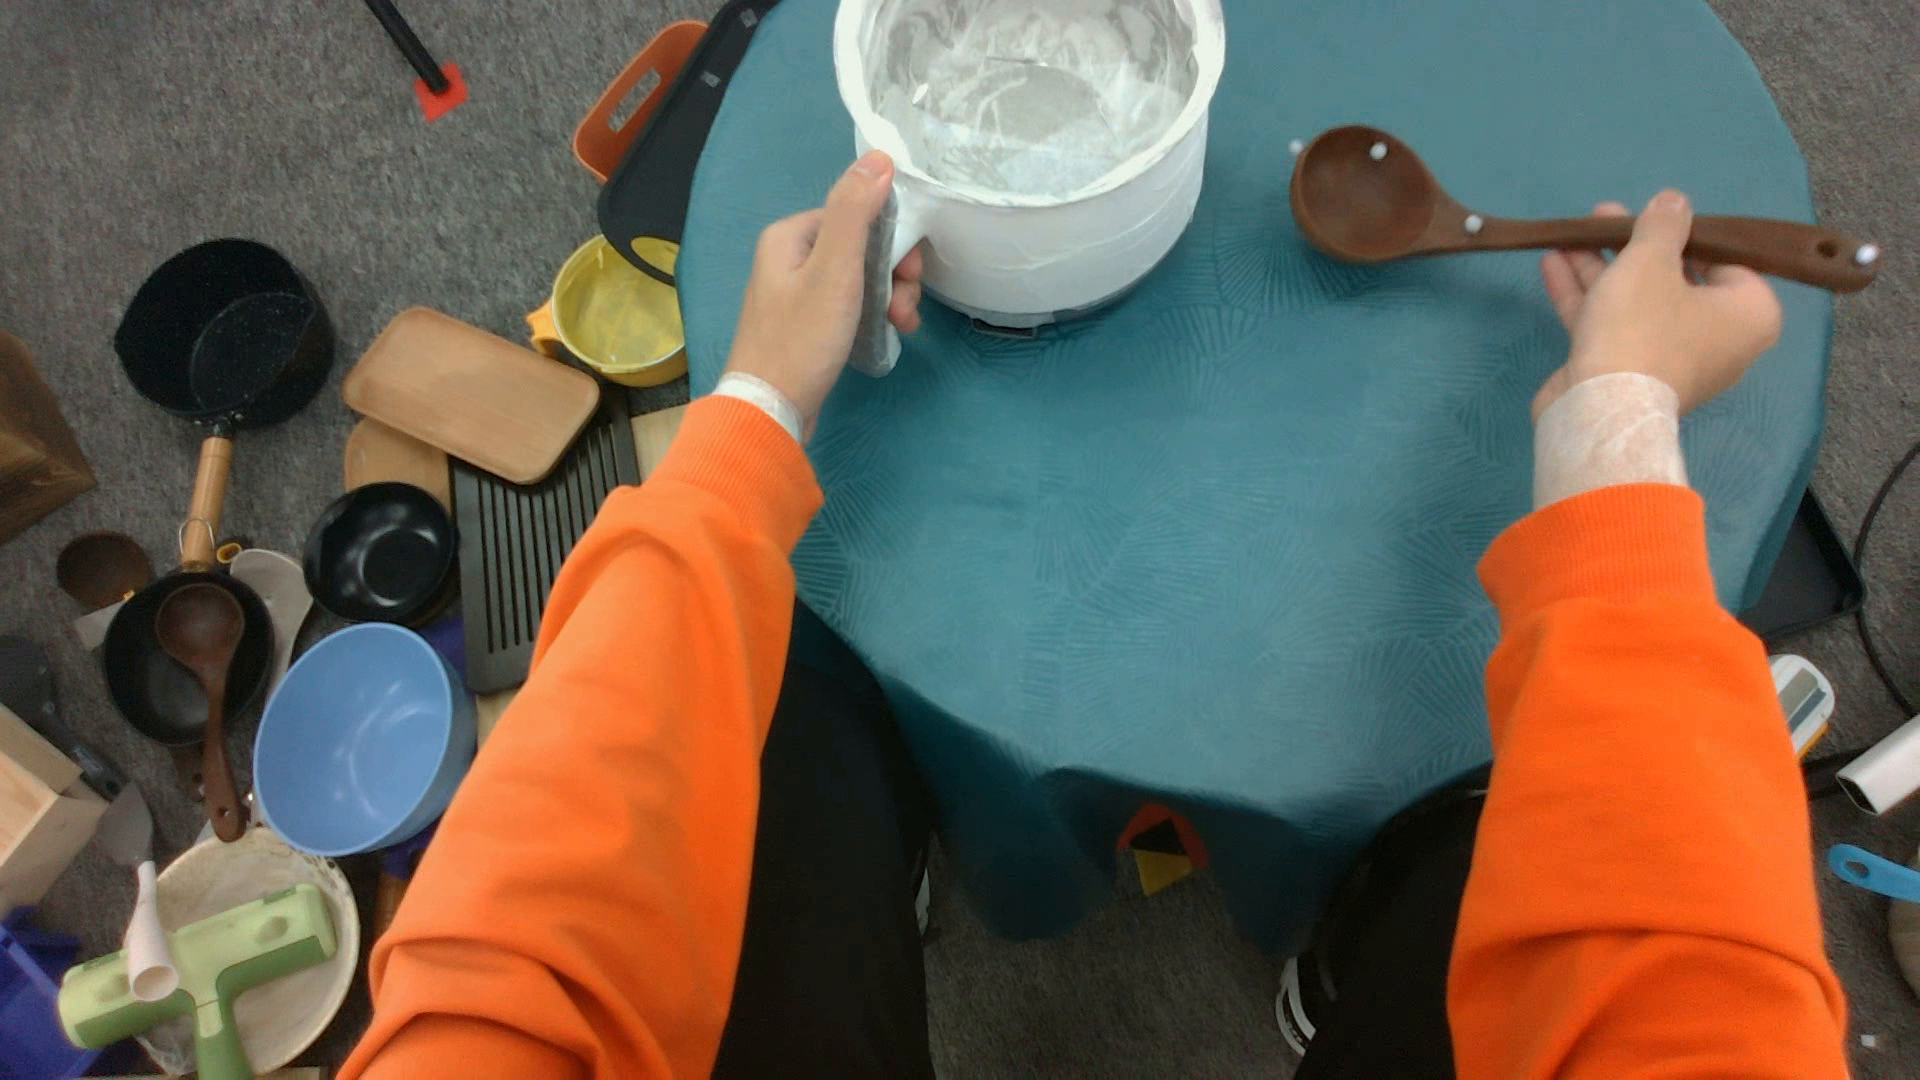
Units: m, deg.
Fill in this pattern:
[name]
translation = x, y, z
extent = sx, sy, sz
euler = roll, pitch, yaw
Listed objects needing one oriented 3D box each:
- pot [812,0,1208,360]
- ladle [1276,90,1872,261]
[pot]
translation = 0.010, -0.195, 0.677
extent = 0.179, 0.136, 0.234
euler = 35, 76, 14
[ladle]
translation = 0.273, -0.166, 0.640
extent = 0.260, 0.065, 0.076
euler = 16, 78, 35
